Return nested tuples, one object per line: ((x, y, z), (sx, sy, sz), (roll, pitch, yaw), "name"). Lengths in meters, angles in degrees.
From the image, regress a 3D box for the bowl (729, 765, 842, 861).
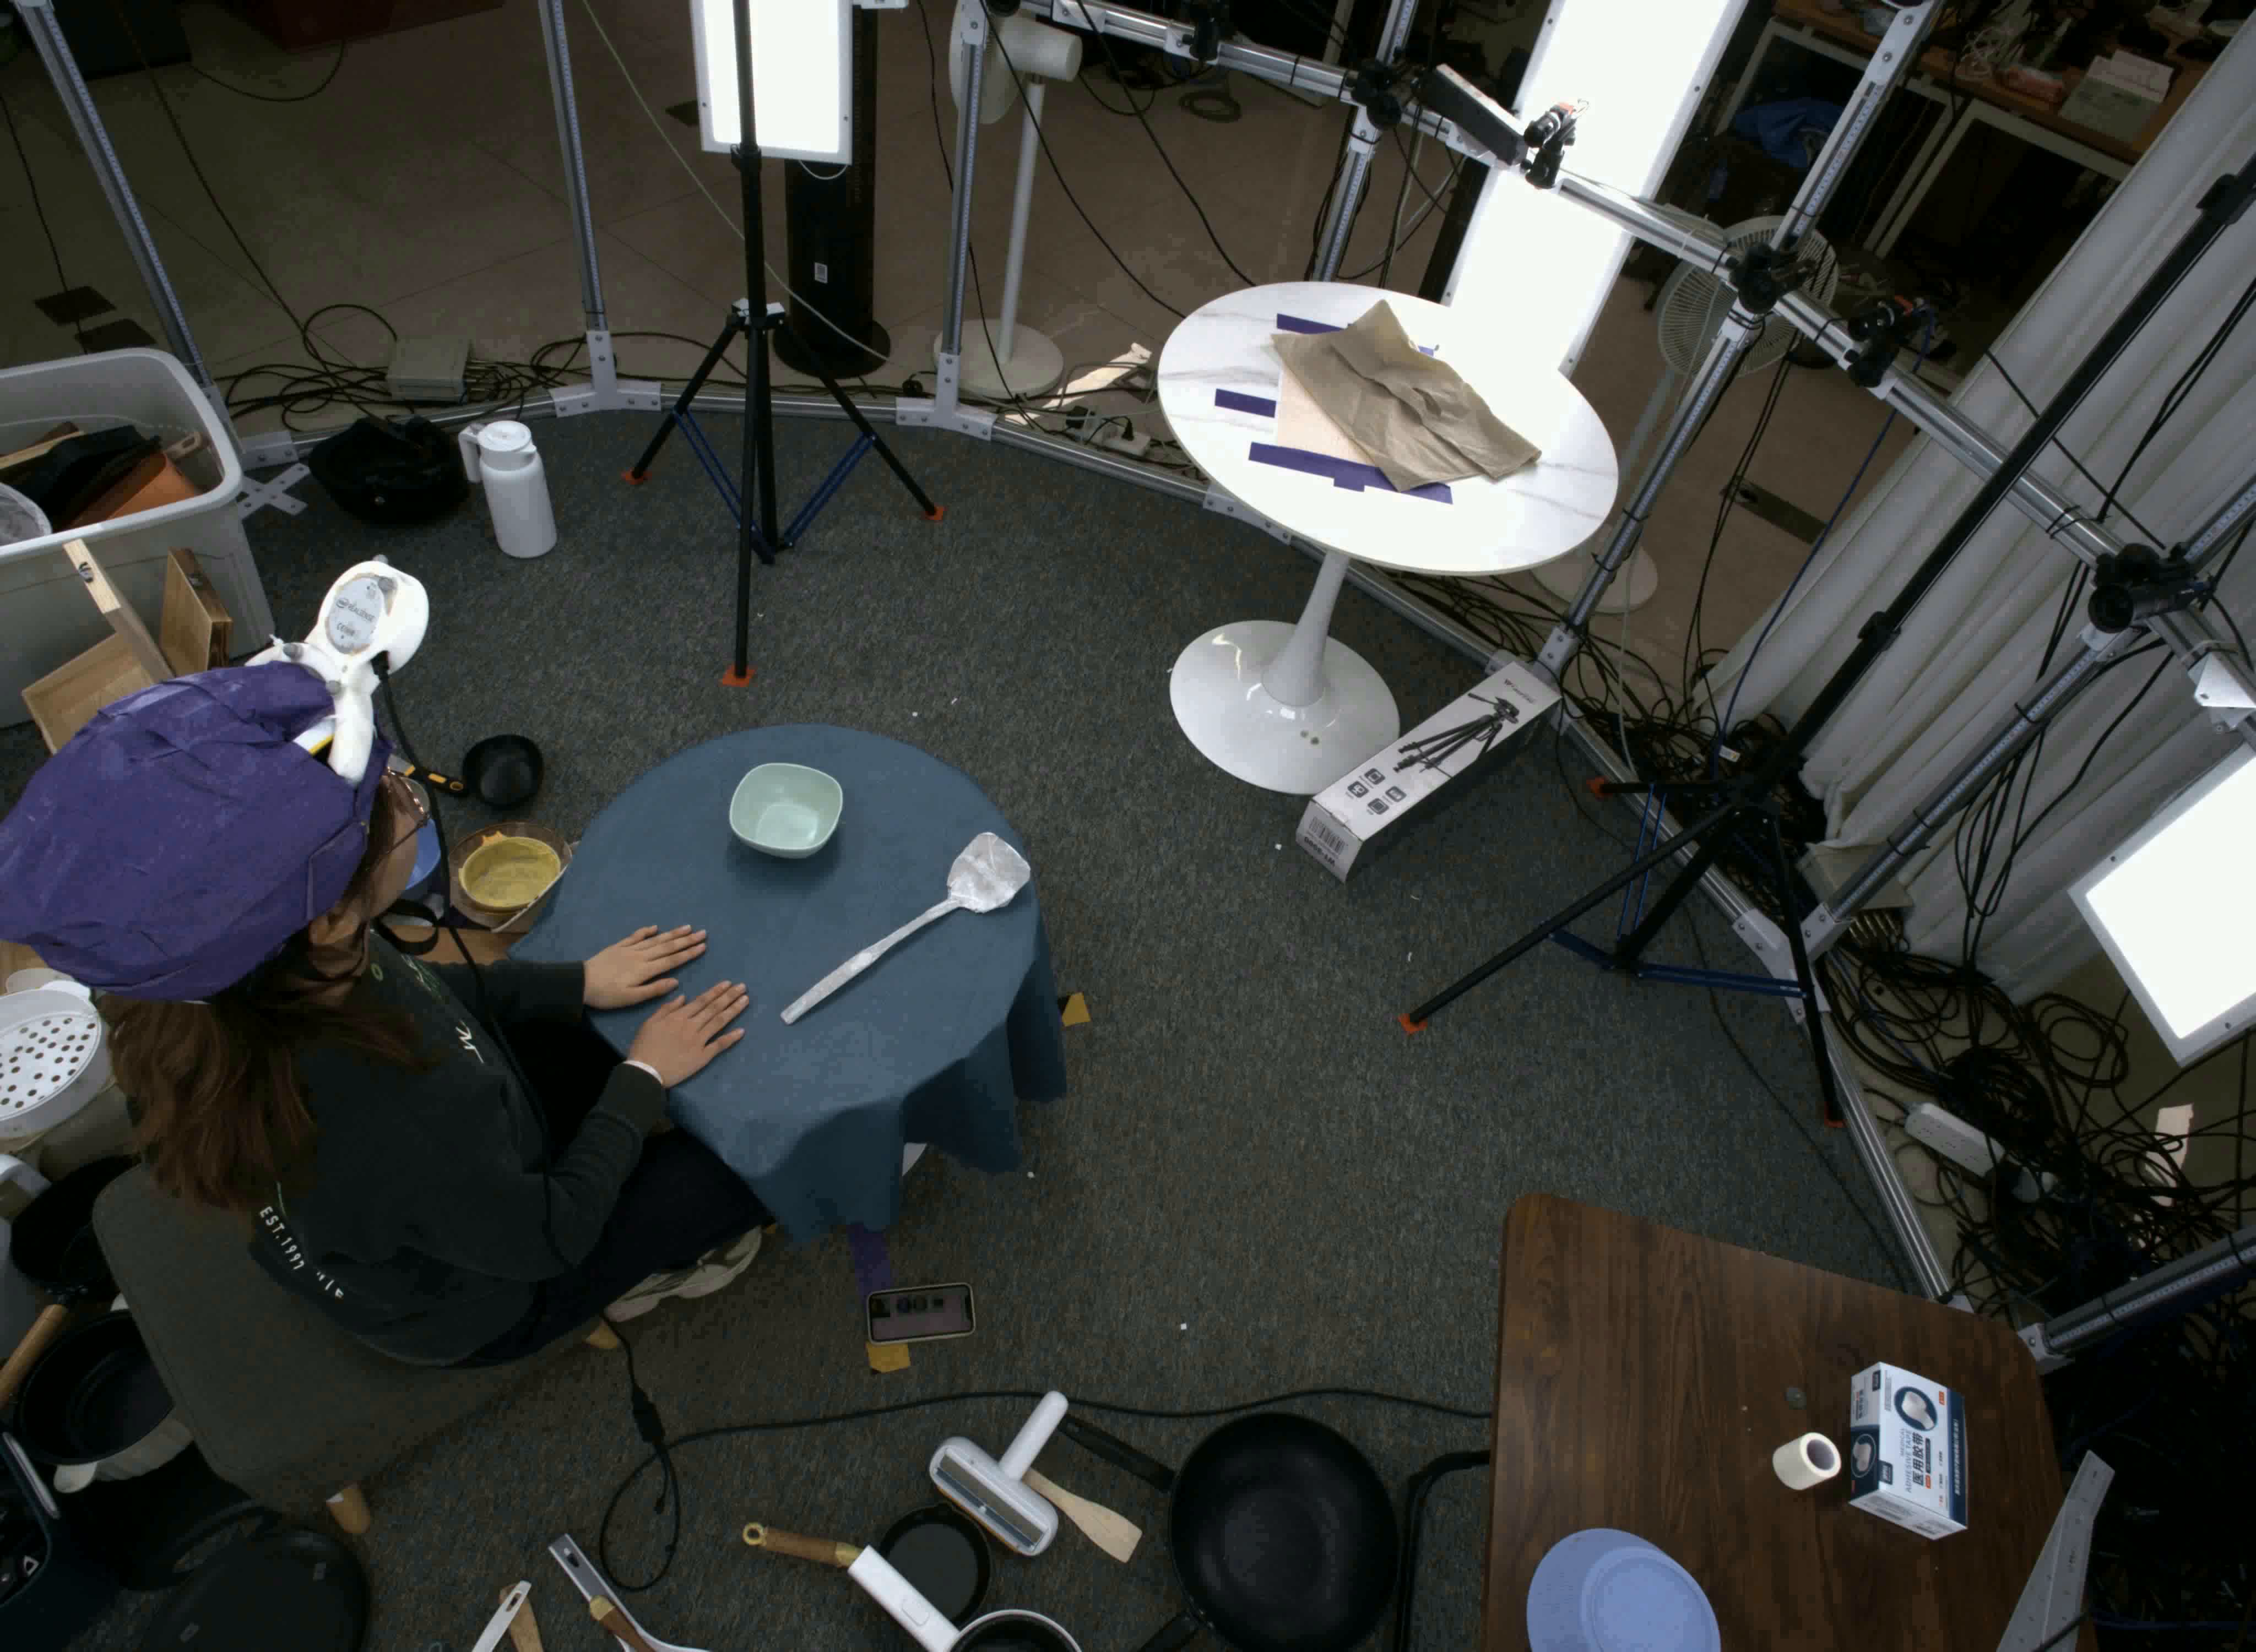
((-0.447, -0.009, 1.694), (0.151, 0.060, 0.148), (9, 50, -9), "bowl")

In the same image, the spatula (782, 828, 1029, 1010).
((-0.282, 0.124, 1.648), (0.366, 0.045, 0.096), (-35, 70, -33), "spatula")
